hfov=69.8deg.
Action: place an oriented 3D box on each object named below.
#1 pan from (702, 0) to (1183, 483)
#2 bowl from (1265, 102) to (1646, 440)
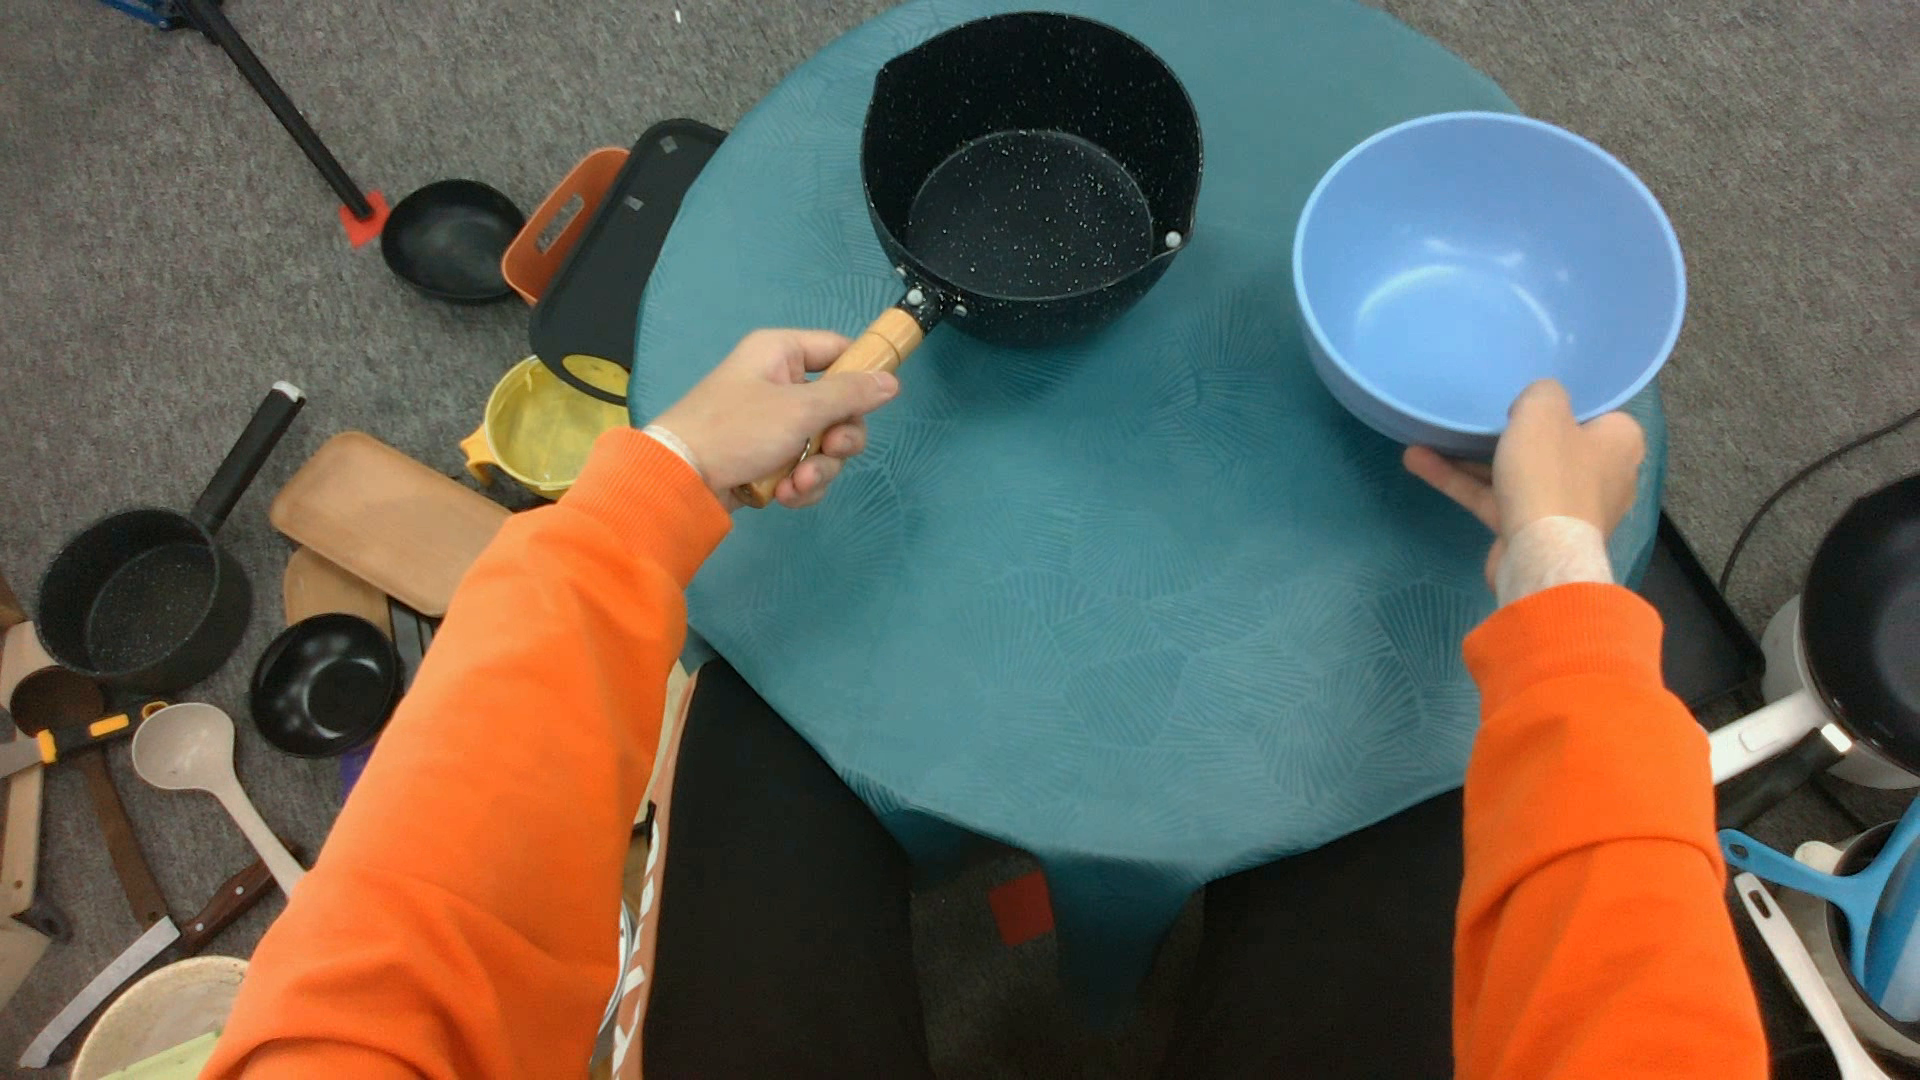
[{"bbox_3d":[-0.016,-0.148,0.744,0.207,0.108,0.344,32,72,11],"label":"pan"},{"bbox_3d":[0.259,-0.133,0.761,0.196,0.095,0.197,0,67,1],"label":"bowl"}]
